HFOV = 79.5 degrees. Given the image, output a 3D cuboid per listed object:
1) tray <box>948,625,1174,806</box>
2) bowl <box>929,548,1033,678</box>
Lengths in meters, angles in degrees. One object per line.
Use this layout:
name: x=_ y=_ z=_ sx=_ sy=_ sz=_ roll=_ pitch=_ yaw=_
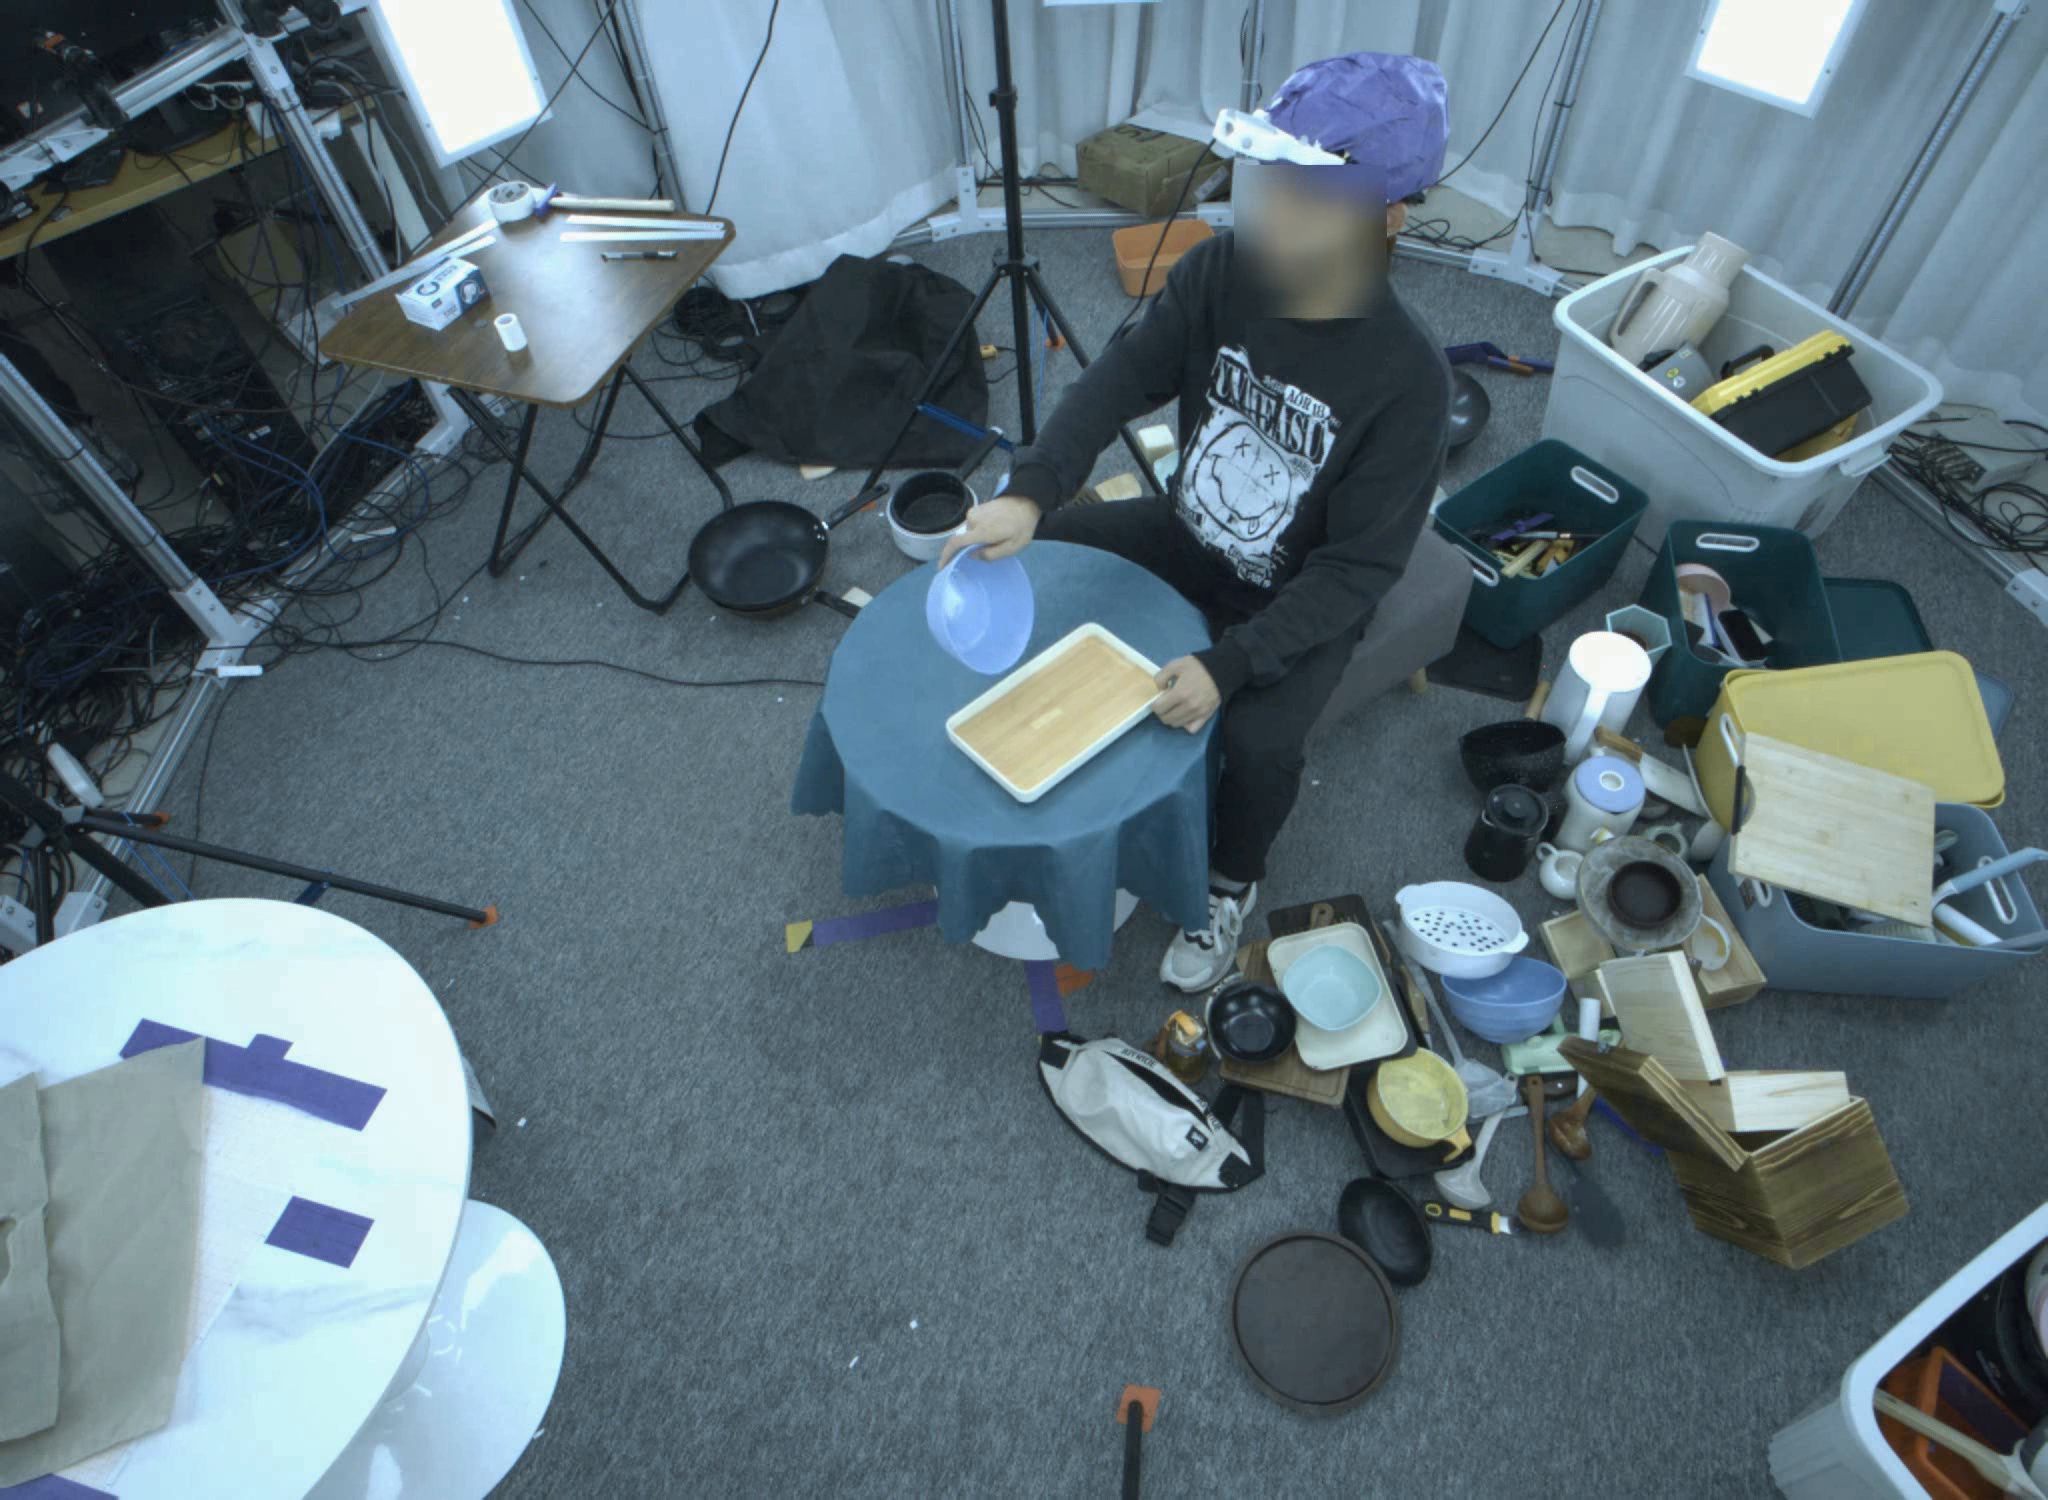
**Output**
tray: x=0.056 y=-0.056 z=1.812 sx=0.302 sy=0.028 sz=0.188 roll=-37 pitch=58 yaw=-21
bowl: x=-0.068 y=-0.187 z=1.675 sx=0.069 sy=0.179 sz=0.176 roll=6 pitch=51 yaw=40
